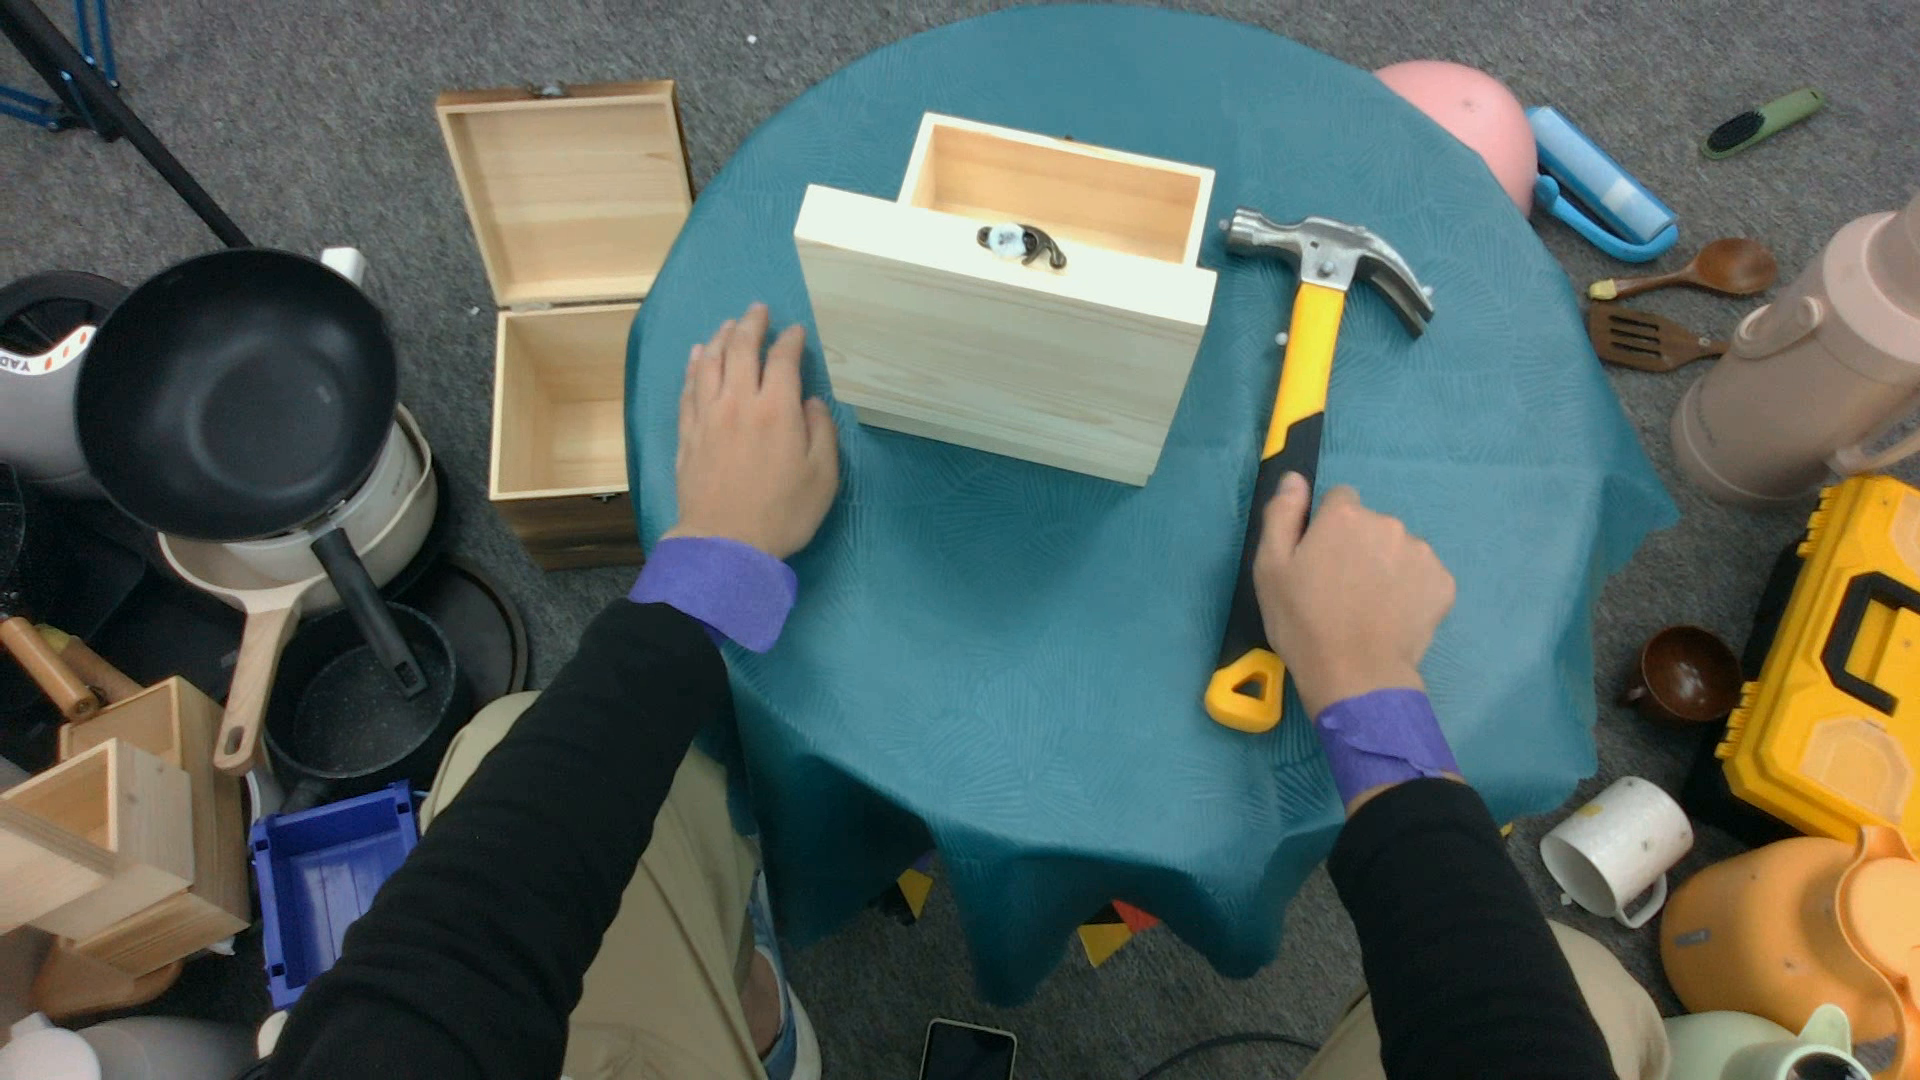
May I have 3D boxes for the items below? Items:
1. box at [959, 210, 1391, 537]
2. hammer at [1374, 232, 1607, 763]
[{"bbox_3d":[0.121,-0.111,0.742,0.181,0.252,0.266,1,63,11],"label":"box"},{"bbox_3d":[0.303,-0.037,0.785,0.131,0.032,0.340,3,62,14],"label":"hammer"}]
